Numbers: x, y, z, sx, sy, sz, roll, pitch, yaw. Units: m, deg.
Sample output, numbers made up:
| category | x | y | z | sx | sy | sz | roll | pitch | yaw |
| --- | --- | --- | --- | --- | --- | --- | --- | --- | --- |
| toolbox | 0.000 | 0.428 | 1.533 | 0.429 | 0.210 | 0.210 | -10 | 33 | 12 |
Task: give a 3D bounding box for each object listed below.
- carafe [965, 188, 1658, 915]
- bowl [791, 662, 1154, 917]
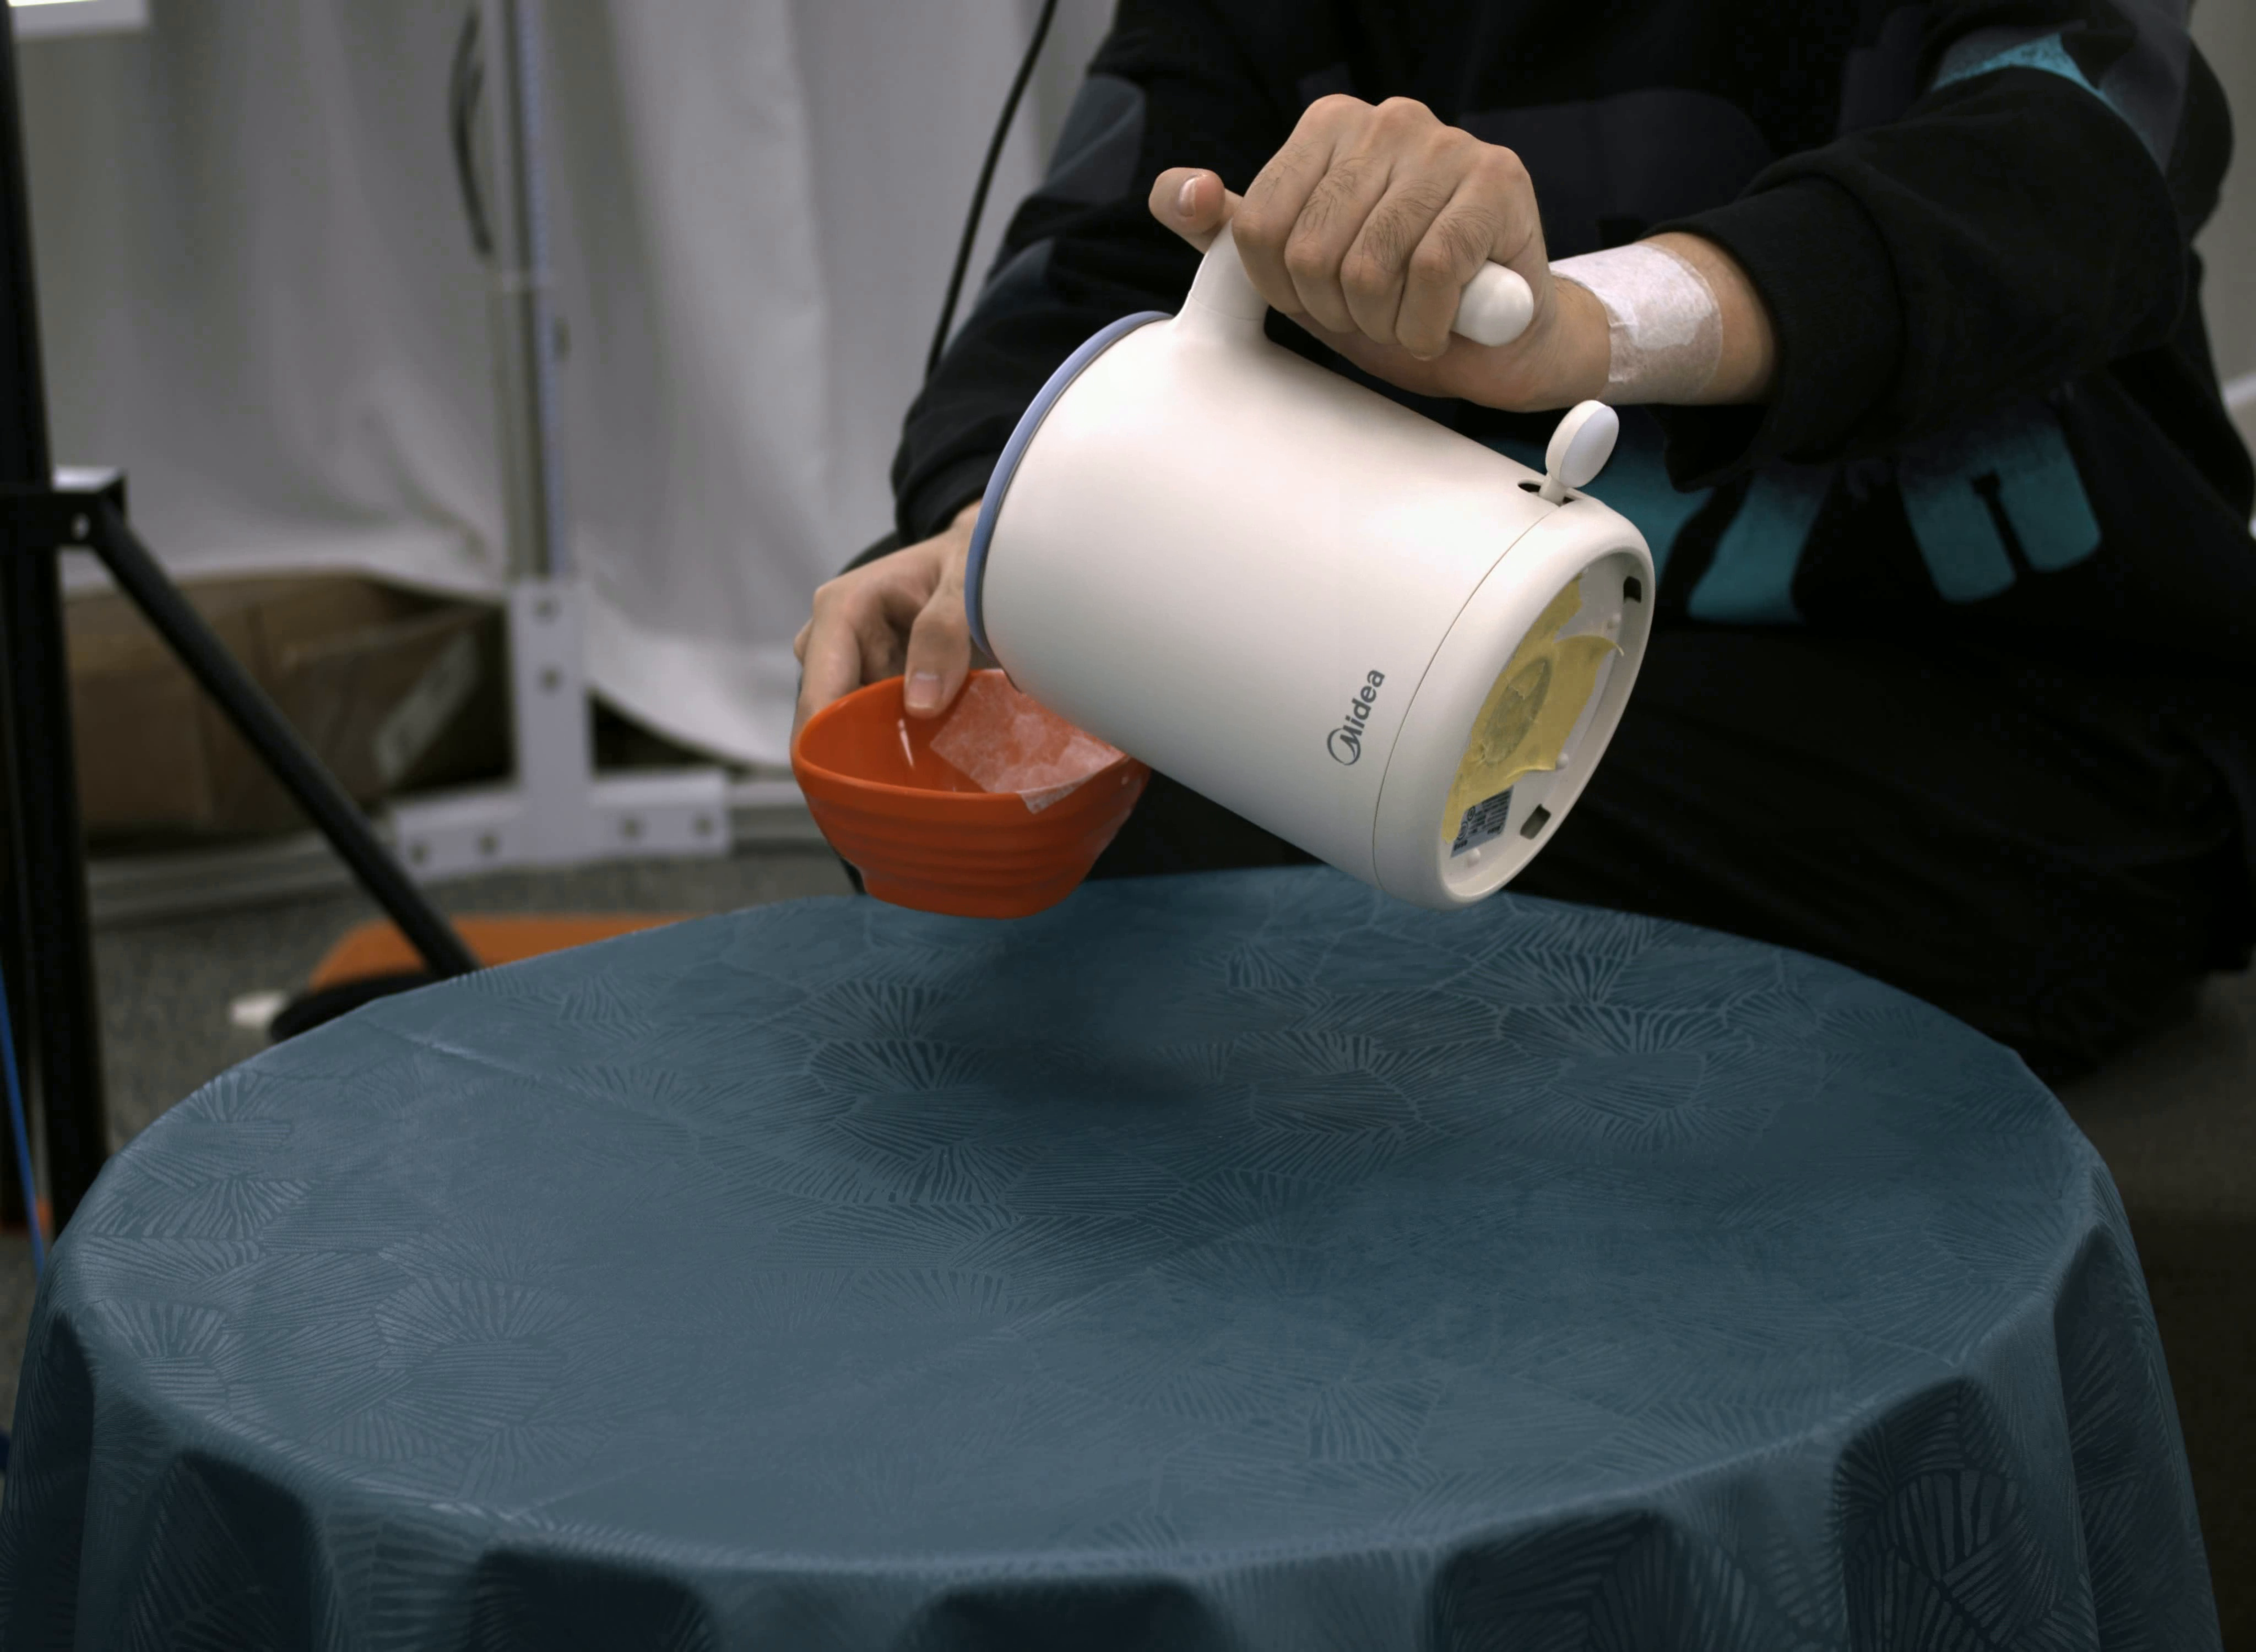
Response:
| category | x | y | z | sx | sy | sz | roll | pitch | yaw |
| --- | --- | --- | --- | --- | --- | --- | --- | --- | --- |
| carafe | 0.062 | -0.088 | 1.575 | 0.185 | 0.192 | 0.129 | 30 | 23 | 23 |
| bowl | -0.046 | -0.009 | 1.675 | 0.118 | 0.051 | 0.120 | -5 | 22 | 0 |
